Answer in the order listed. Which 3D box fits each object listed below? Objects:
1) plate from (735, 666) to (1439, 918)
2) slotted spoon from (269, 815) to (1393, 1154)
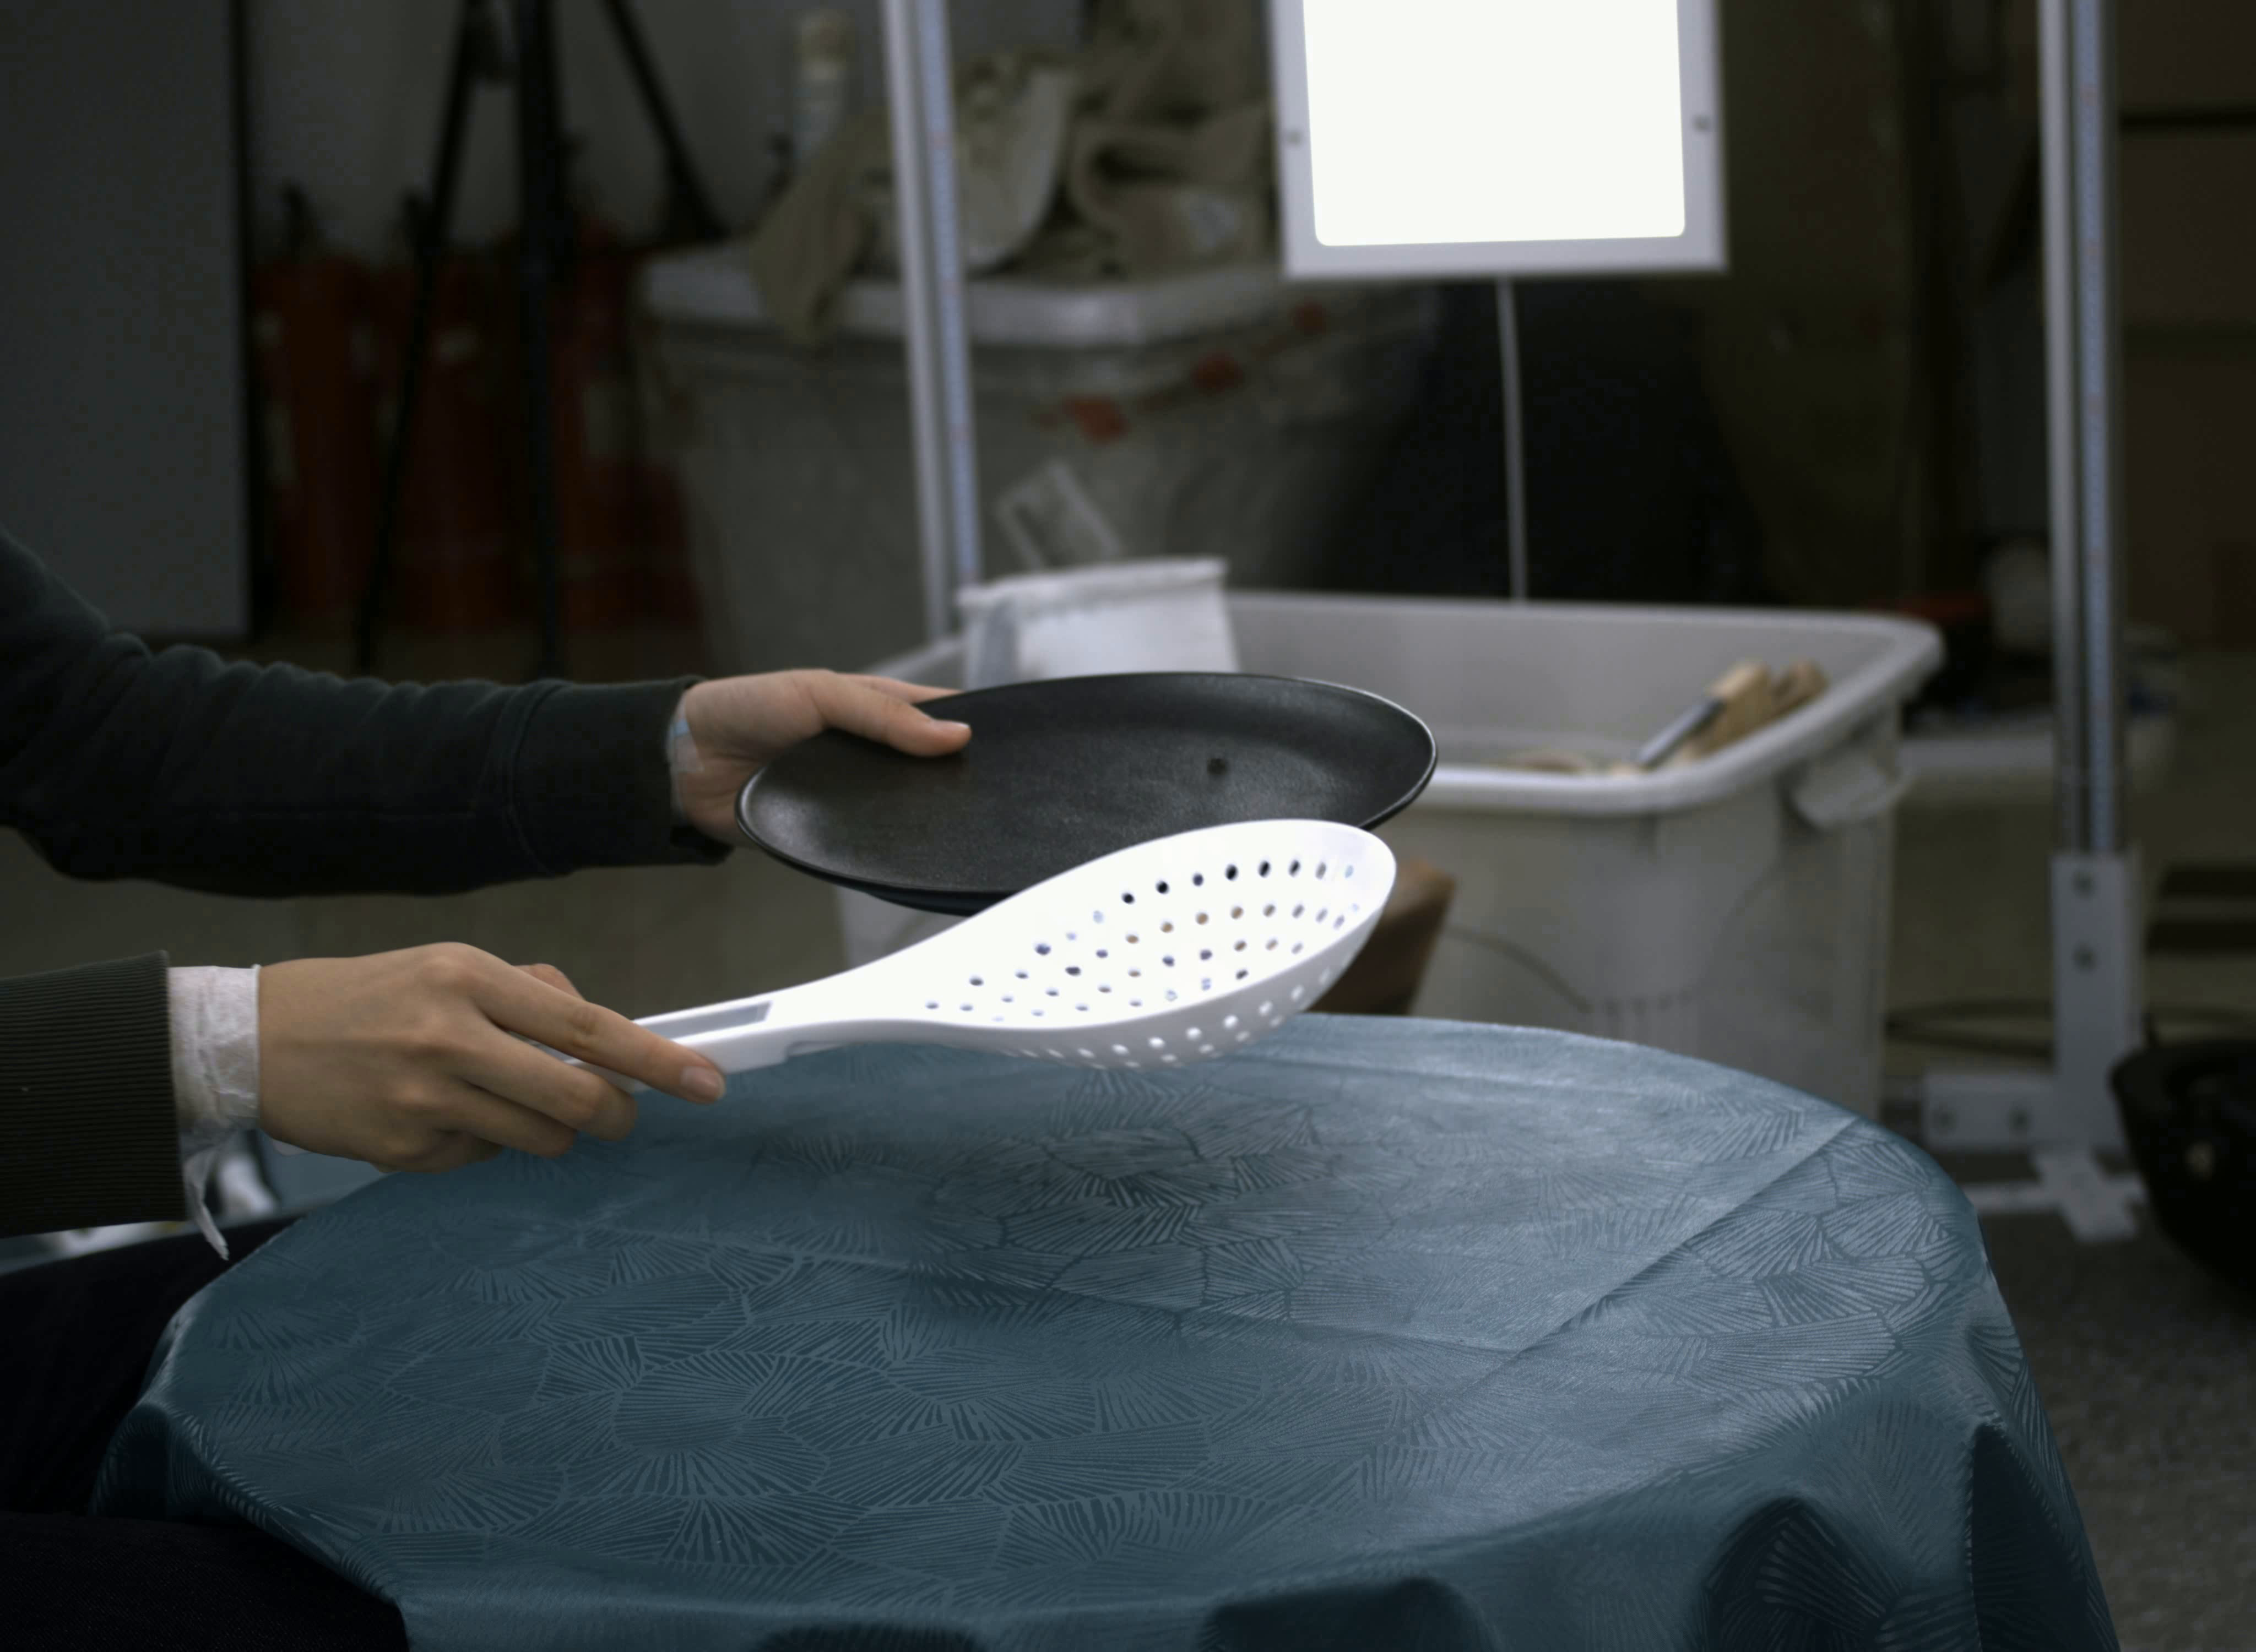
[{"bbox_3d":[-0.013,-0.009,1.891,0.244,0.023,0.244,-6,18,0],"label":"plate"},{"bbox_3d":[-0.090,0.054,1.627,0.352,0.046,0.135,-8,20,13],"label":"slotted spoon"}]
